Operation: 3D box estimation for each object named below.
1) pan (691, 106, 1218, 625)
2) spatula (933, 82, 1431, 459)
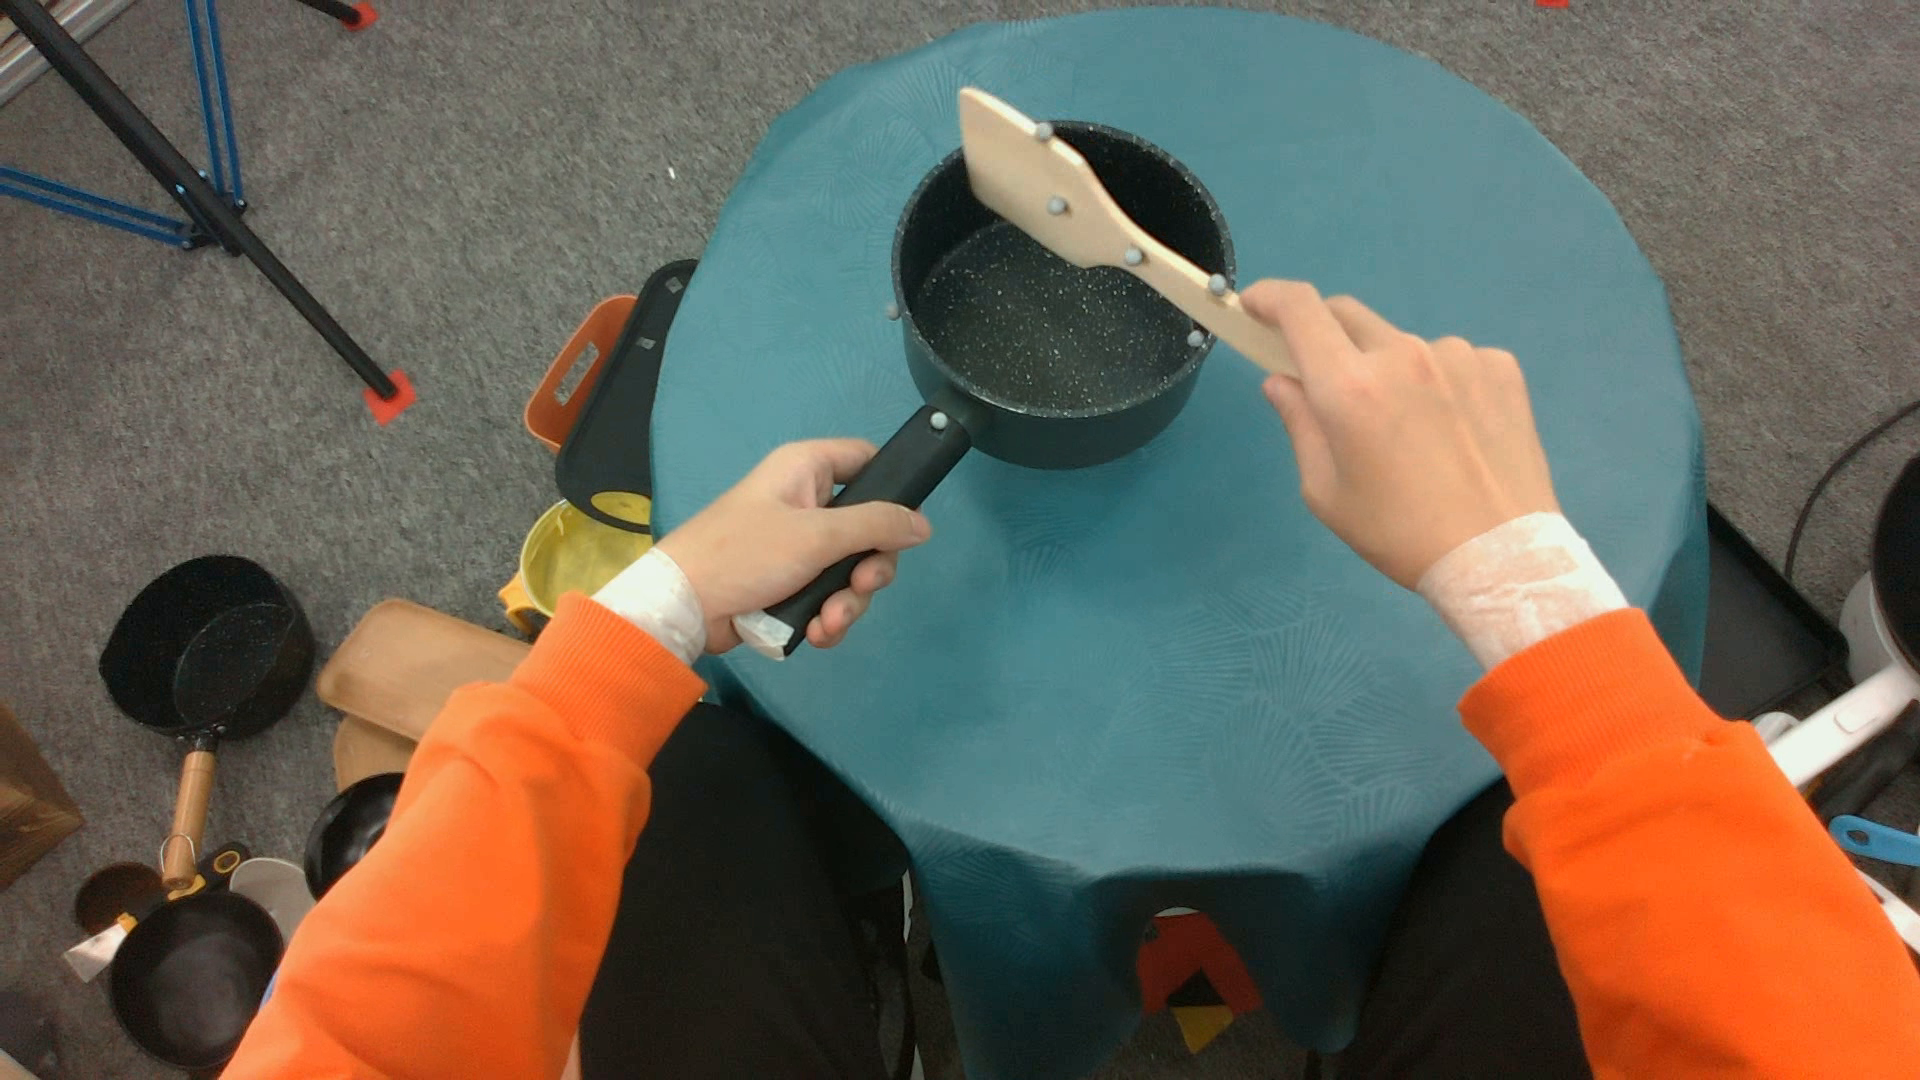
[{"bbox_3d":[-0.006,-0.075,0.687,0.172,0.086,0.330,36,70,14],"label":"pan"},{"bbox_3d":[0.090,-0.123,0.624,0.011,0.072,0.293,-40,61,-18],"label":"spatula"}]
